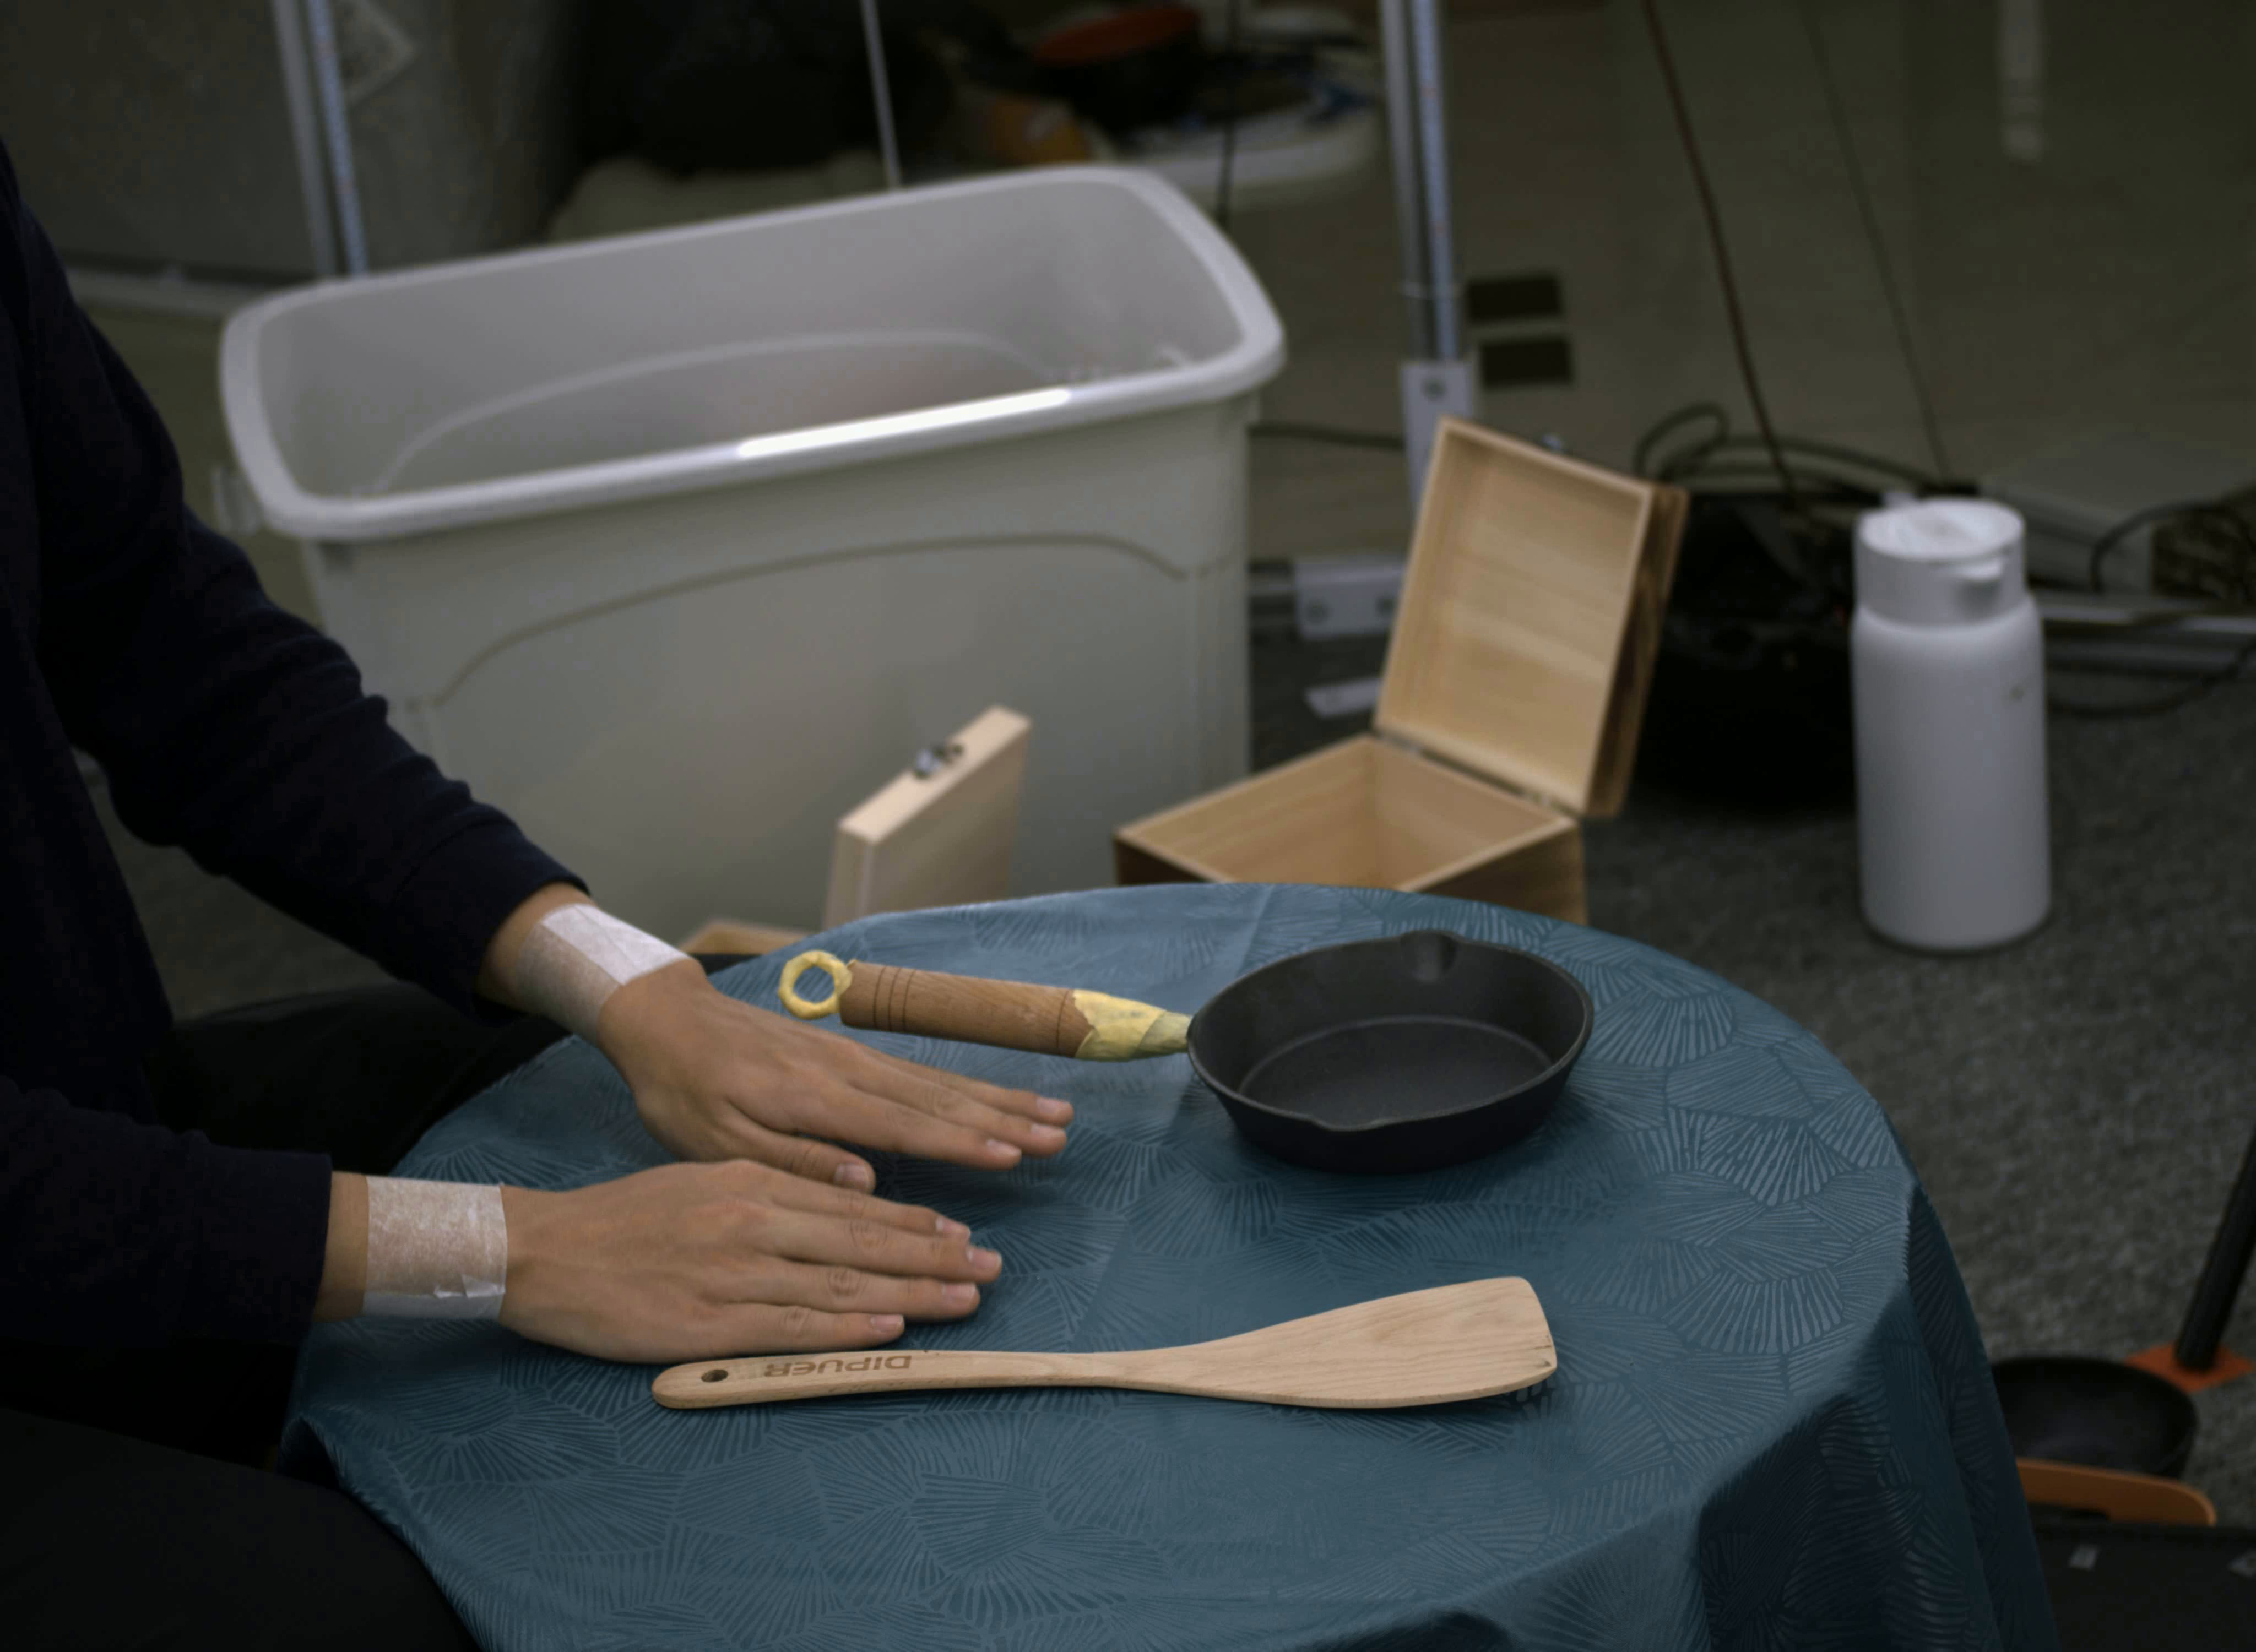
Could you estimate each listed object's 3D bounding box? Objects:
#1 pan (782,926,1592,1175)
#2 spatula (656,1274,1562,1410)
[{"bbox_3d":[0.021,0.081,2.206,0.323,0.050,0.166,3,27,17],"label":"pan"},{"bbox_3d":[-0.008,0.189,2.022,0.327,0.017,0.079,-3,24,7],"label":"spatula"}]
